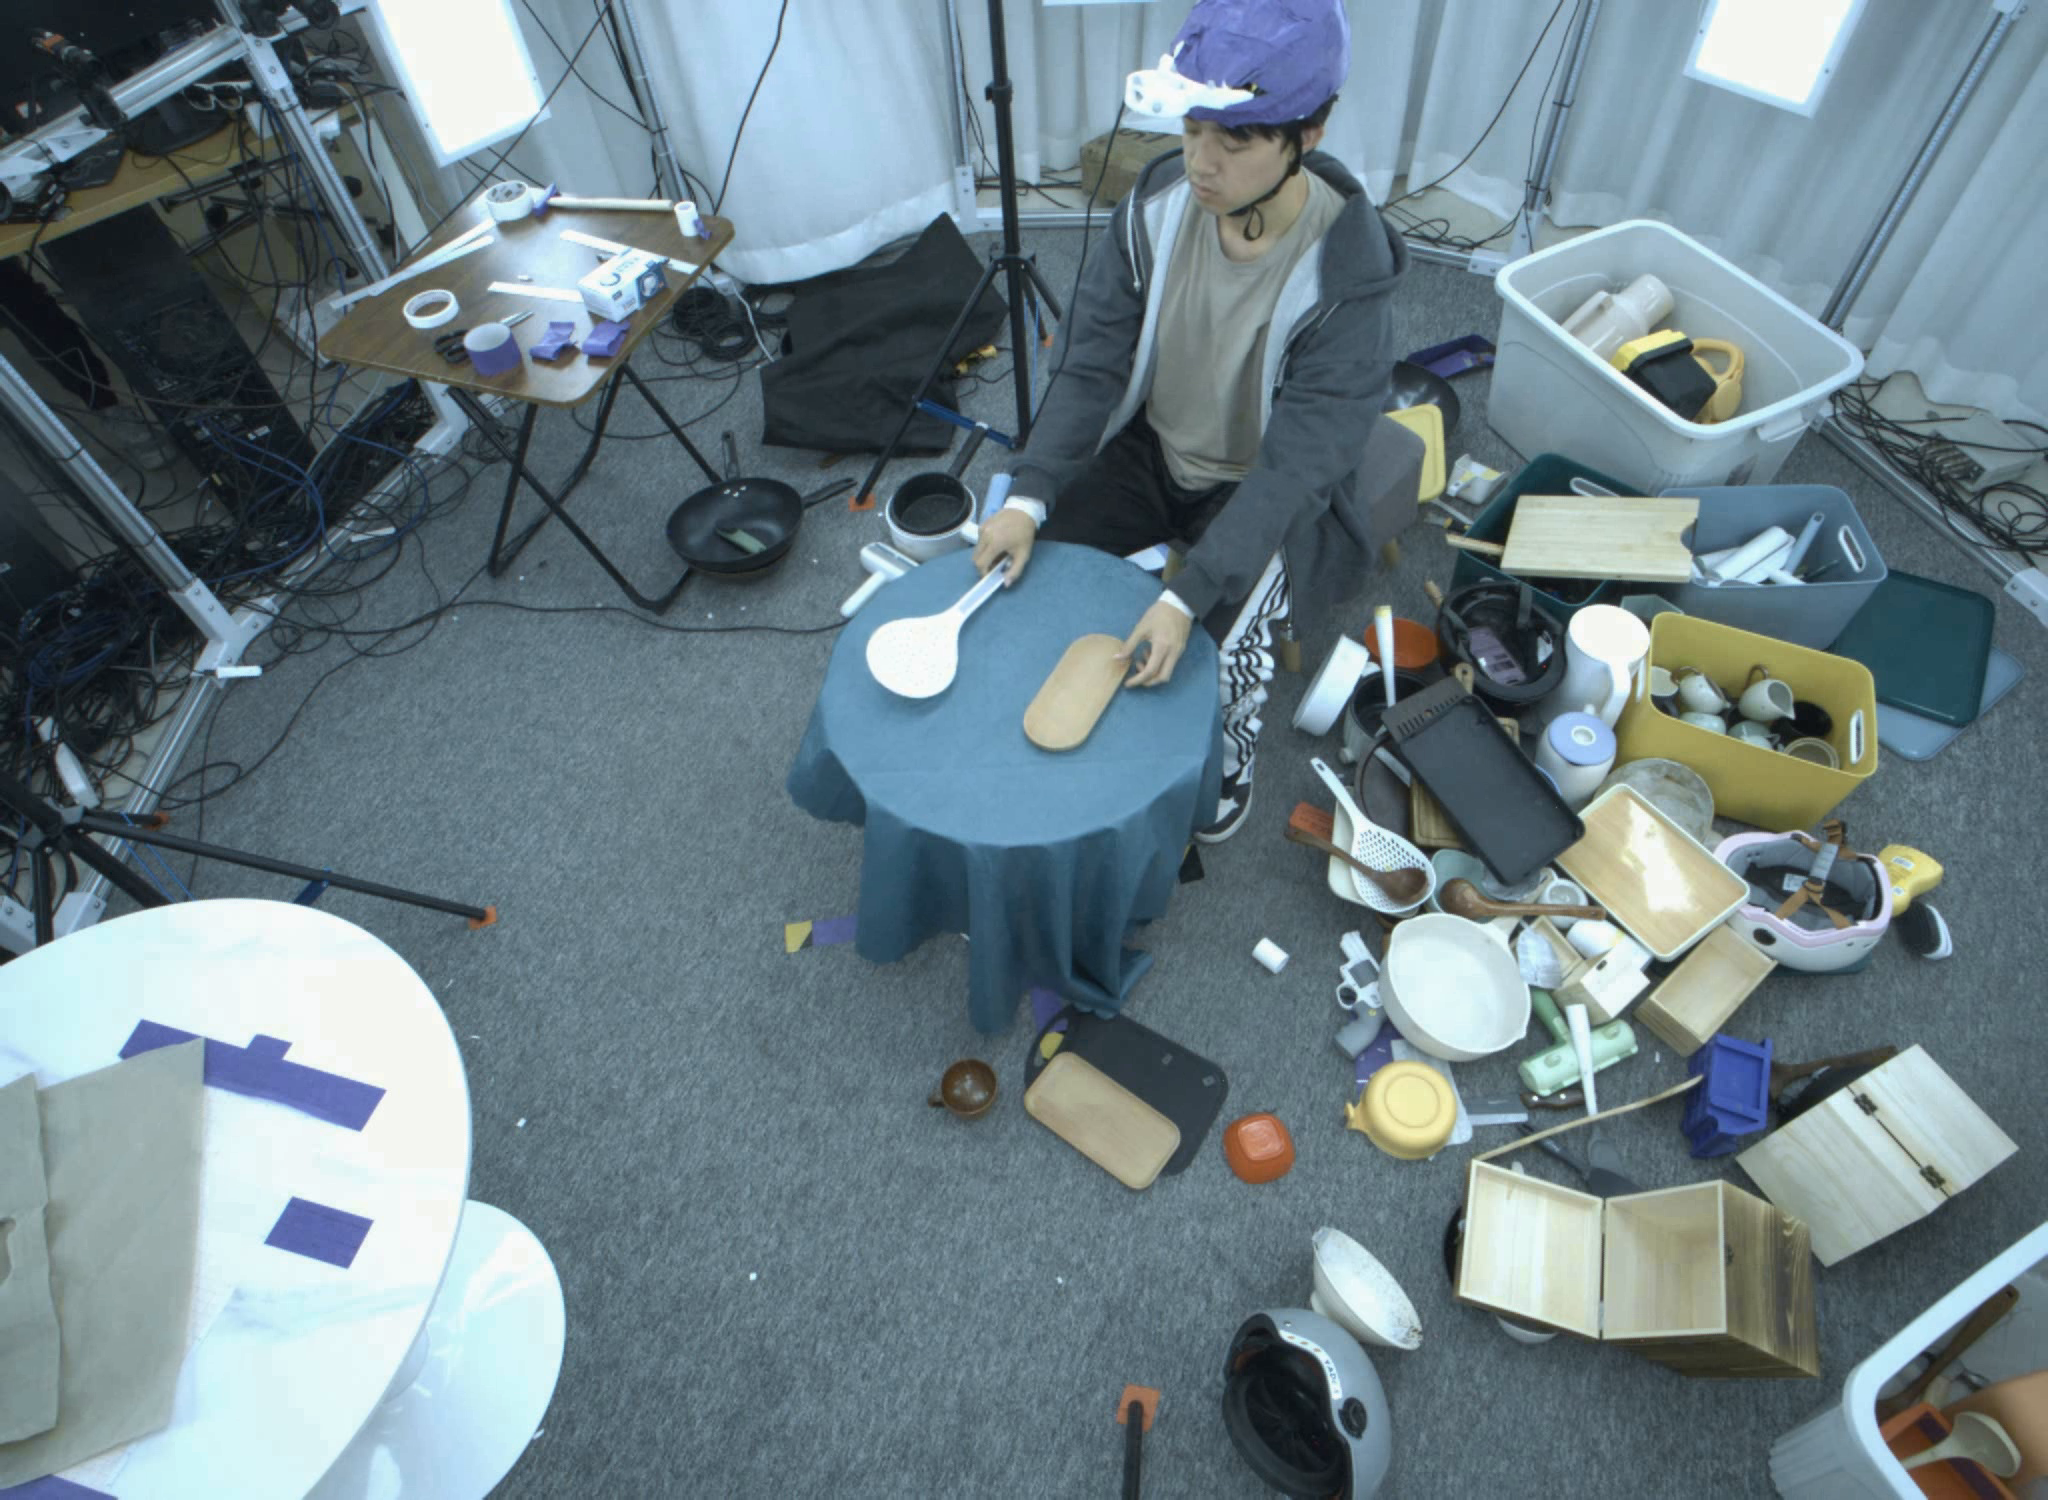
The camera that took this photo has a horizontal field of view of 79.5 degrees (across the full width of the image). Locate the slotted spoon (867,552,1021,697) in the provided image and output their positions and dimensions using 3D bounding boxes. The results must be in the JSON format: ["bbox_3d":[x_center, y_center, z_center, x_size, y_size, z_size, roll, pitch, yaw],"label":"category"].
[{"bbox_3d":[-0.112,-0.205,1.906,0.136,0.045,0.351,40,61,1],"label":"slotted spoon"}]

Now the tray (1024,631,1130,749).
[{"bbox_3d":[0.081,-0.091,1.842,0.100,0.020,0.231,22,57,16],"label":"tray"}]
